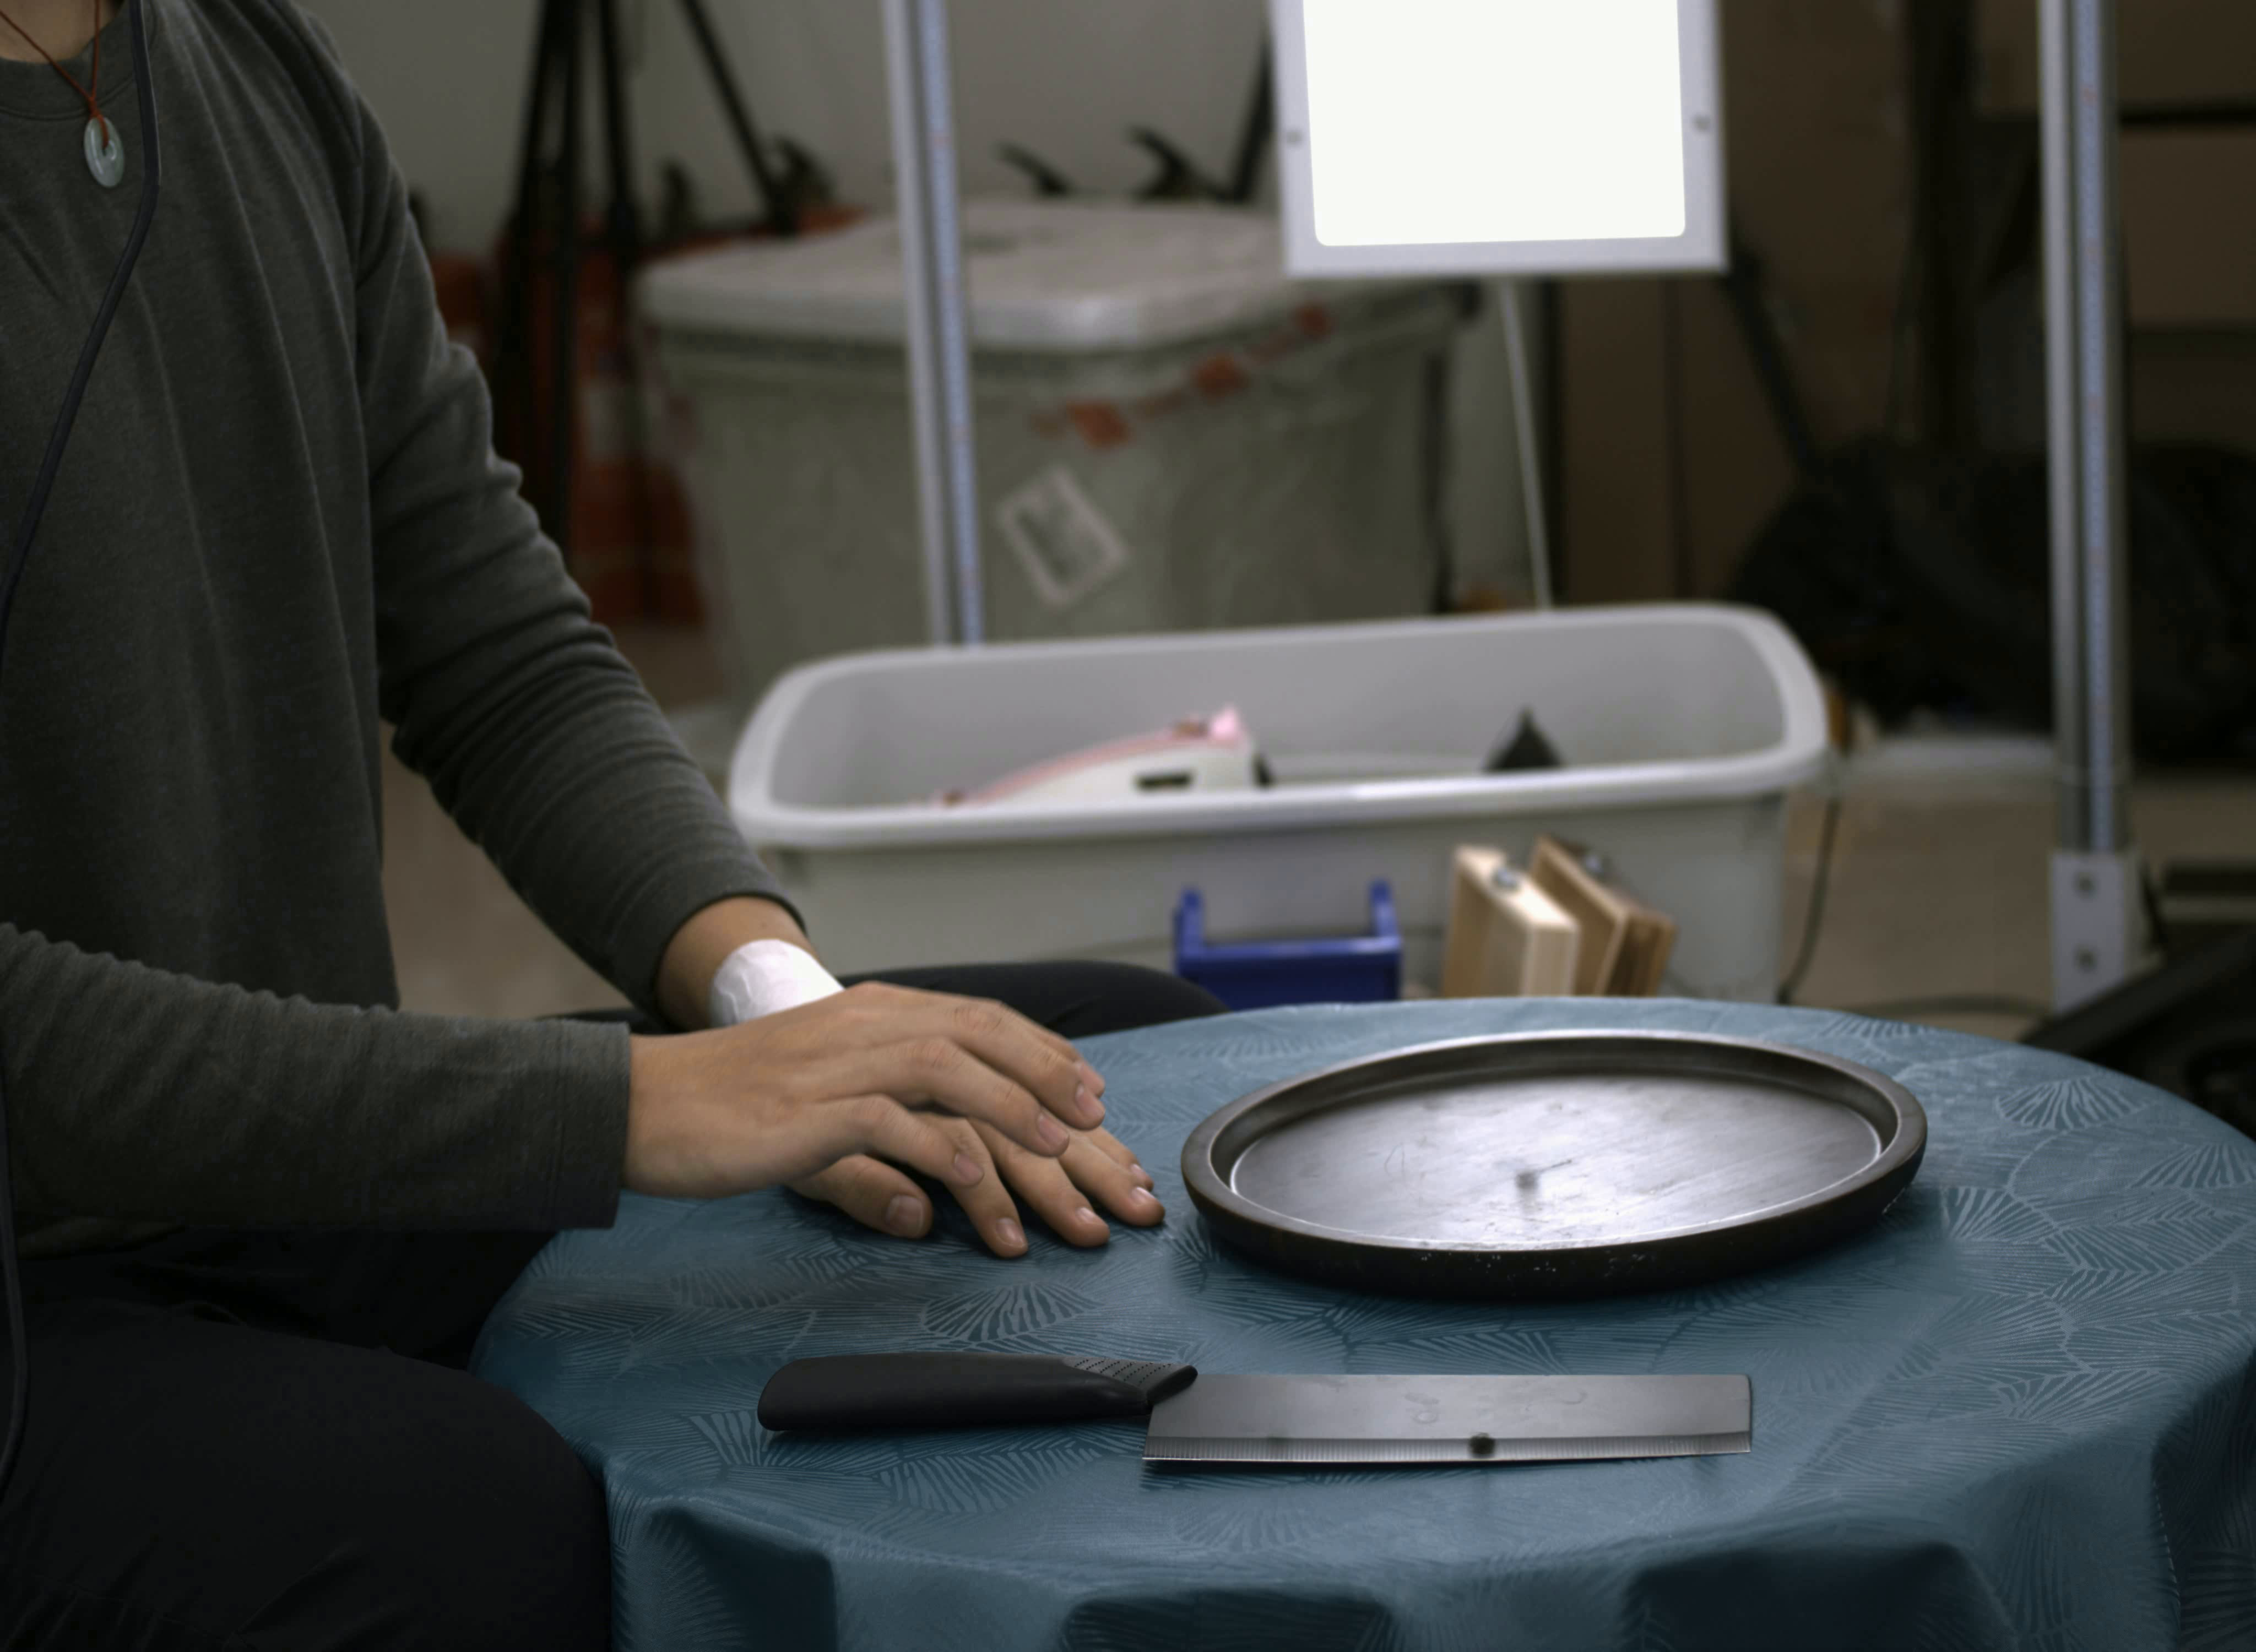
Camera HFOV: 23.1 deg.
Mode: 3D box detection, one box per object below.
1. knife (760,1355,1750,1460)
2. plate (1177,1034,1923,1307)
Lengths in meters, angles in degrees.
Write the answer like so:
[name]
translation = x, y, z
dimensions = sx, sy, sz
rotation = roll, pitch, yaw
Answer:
[knife]
translation = 0.038, 0.176, 1.657
dimensions = 0.304, 0.021, 0.080
rotation = 0, 16, 13
[plate]
translation = 0.143, 0.114, 1.856
dimensions = 0.254, 0.029, 0.254
rotation = -5, 15, 0
